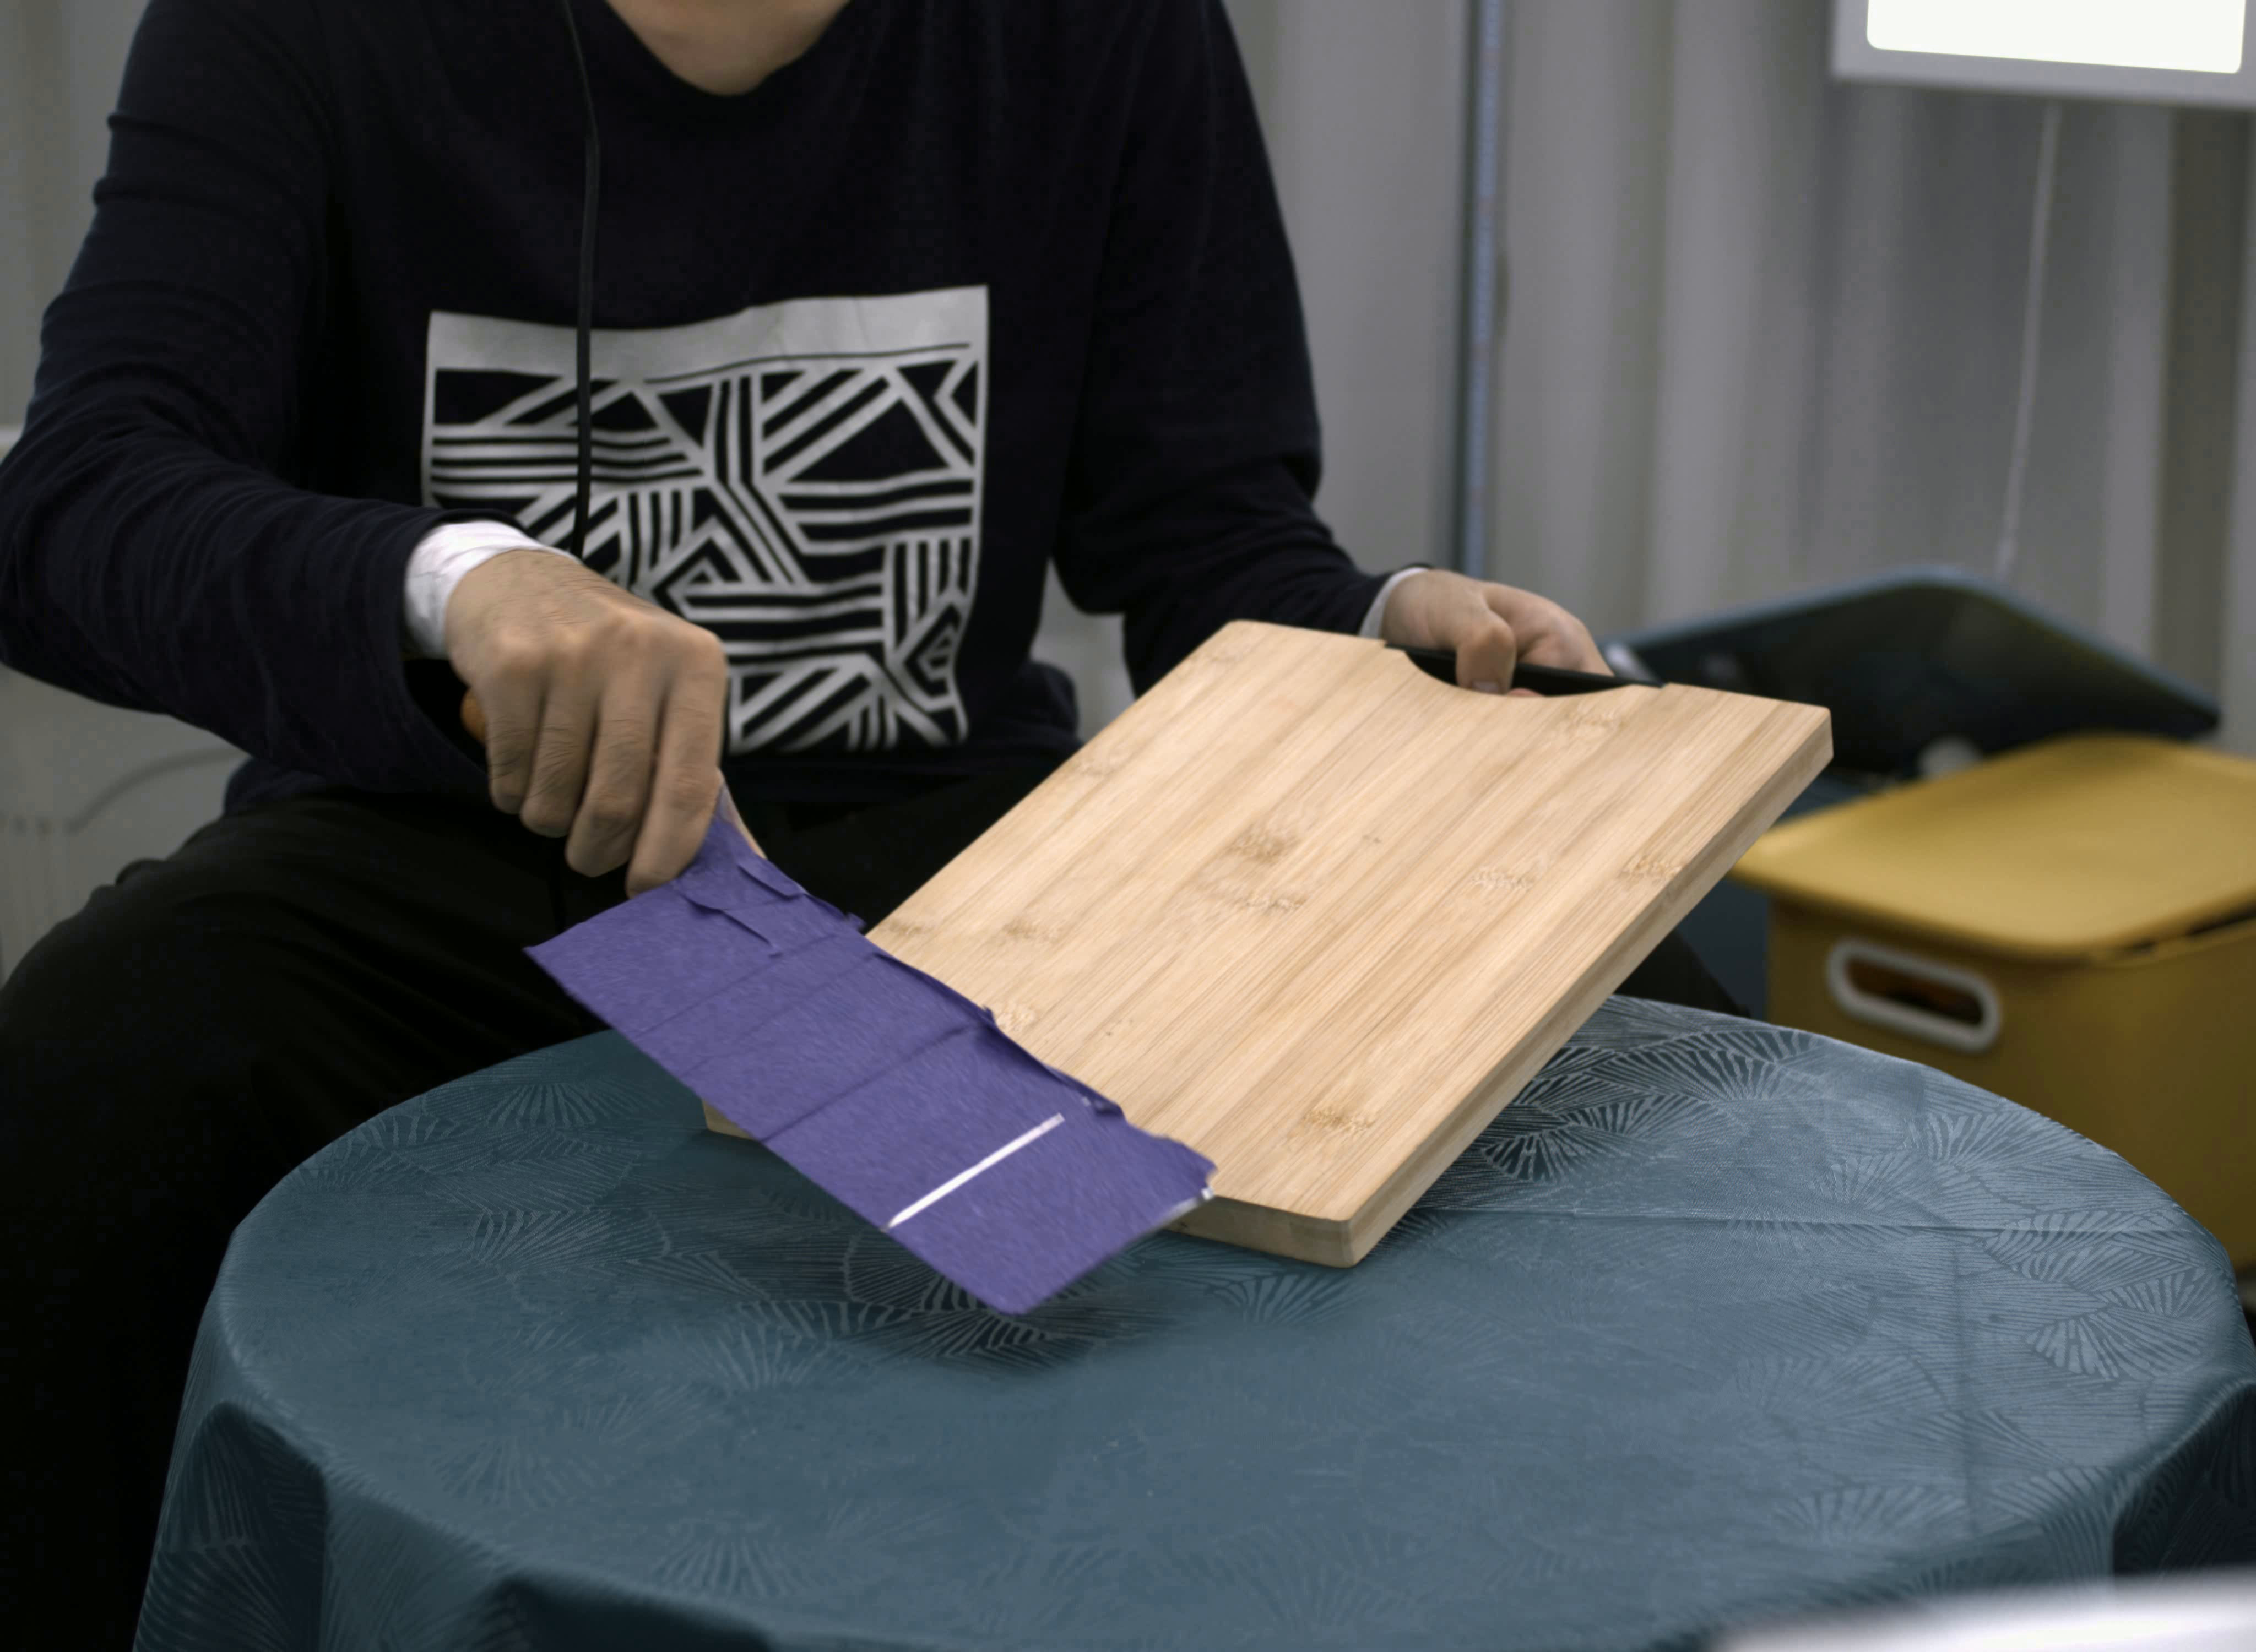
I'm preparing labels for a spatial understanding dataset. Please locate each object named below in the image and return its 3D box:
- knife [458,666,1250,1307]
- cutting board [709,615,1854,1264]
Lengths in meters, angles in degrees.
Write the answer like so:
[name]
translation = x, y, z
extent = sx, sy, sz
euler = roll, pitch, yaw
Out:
[knife]
translation = -0.109, 0.043, 1.566
extent = 0.311, 0.032, 0.104
euler = 32, 40, 30
[cutting board]
translation = 0.055, 0.027, 1.739
extent = 0.248, 0.024, 0.348
euler = 10, 33, 30
